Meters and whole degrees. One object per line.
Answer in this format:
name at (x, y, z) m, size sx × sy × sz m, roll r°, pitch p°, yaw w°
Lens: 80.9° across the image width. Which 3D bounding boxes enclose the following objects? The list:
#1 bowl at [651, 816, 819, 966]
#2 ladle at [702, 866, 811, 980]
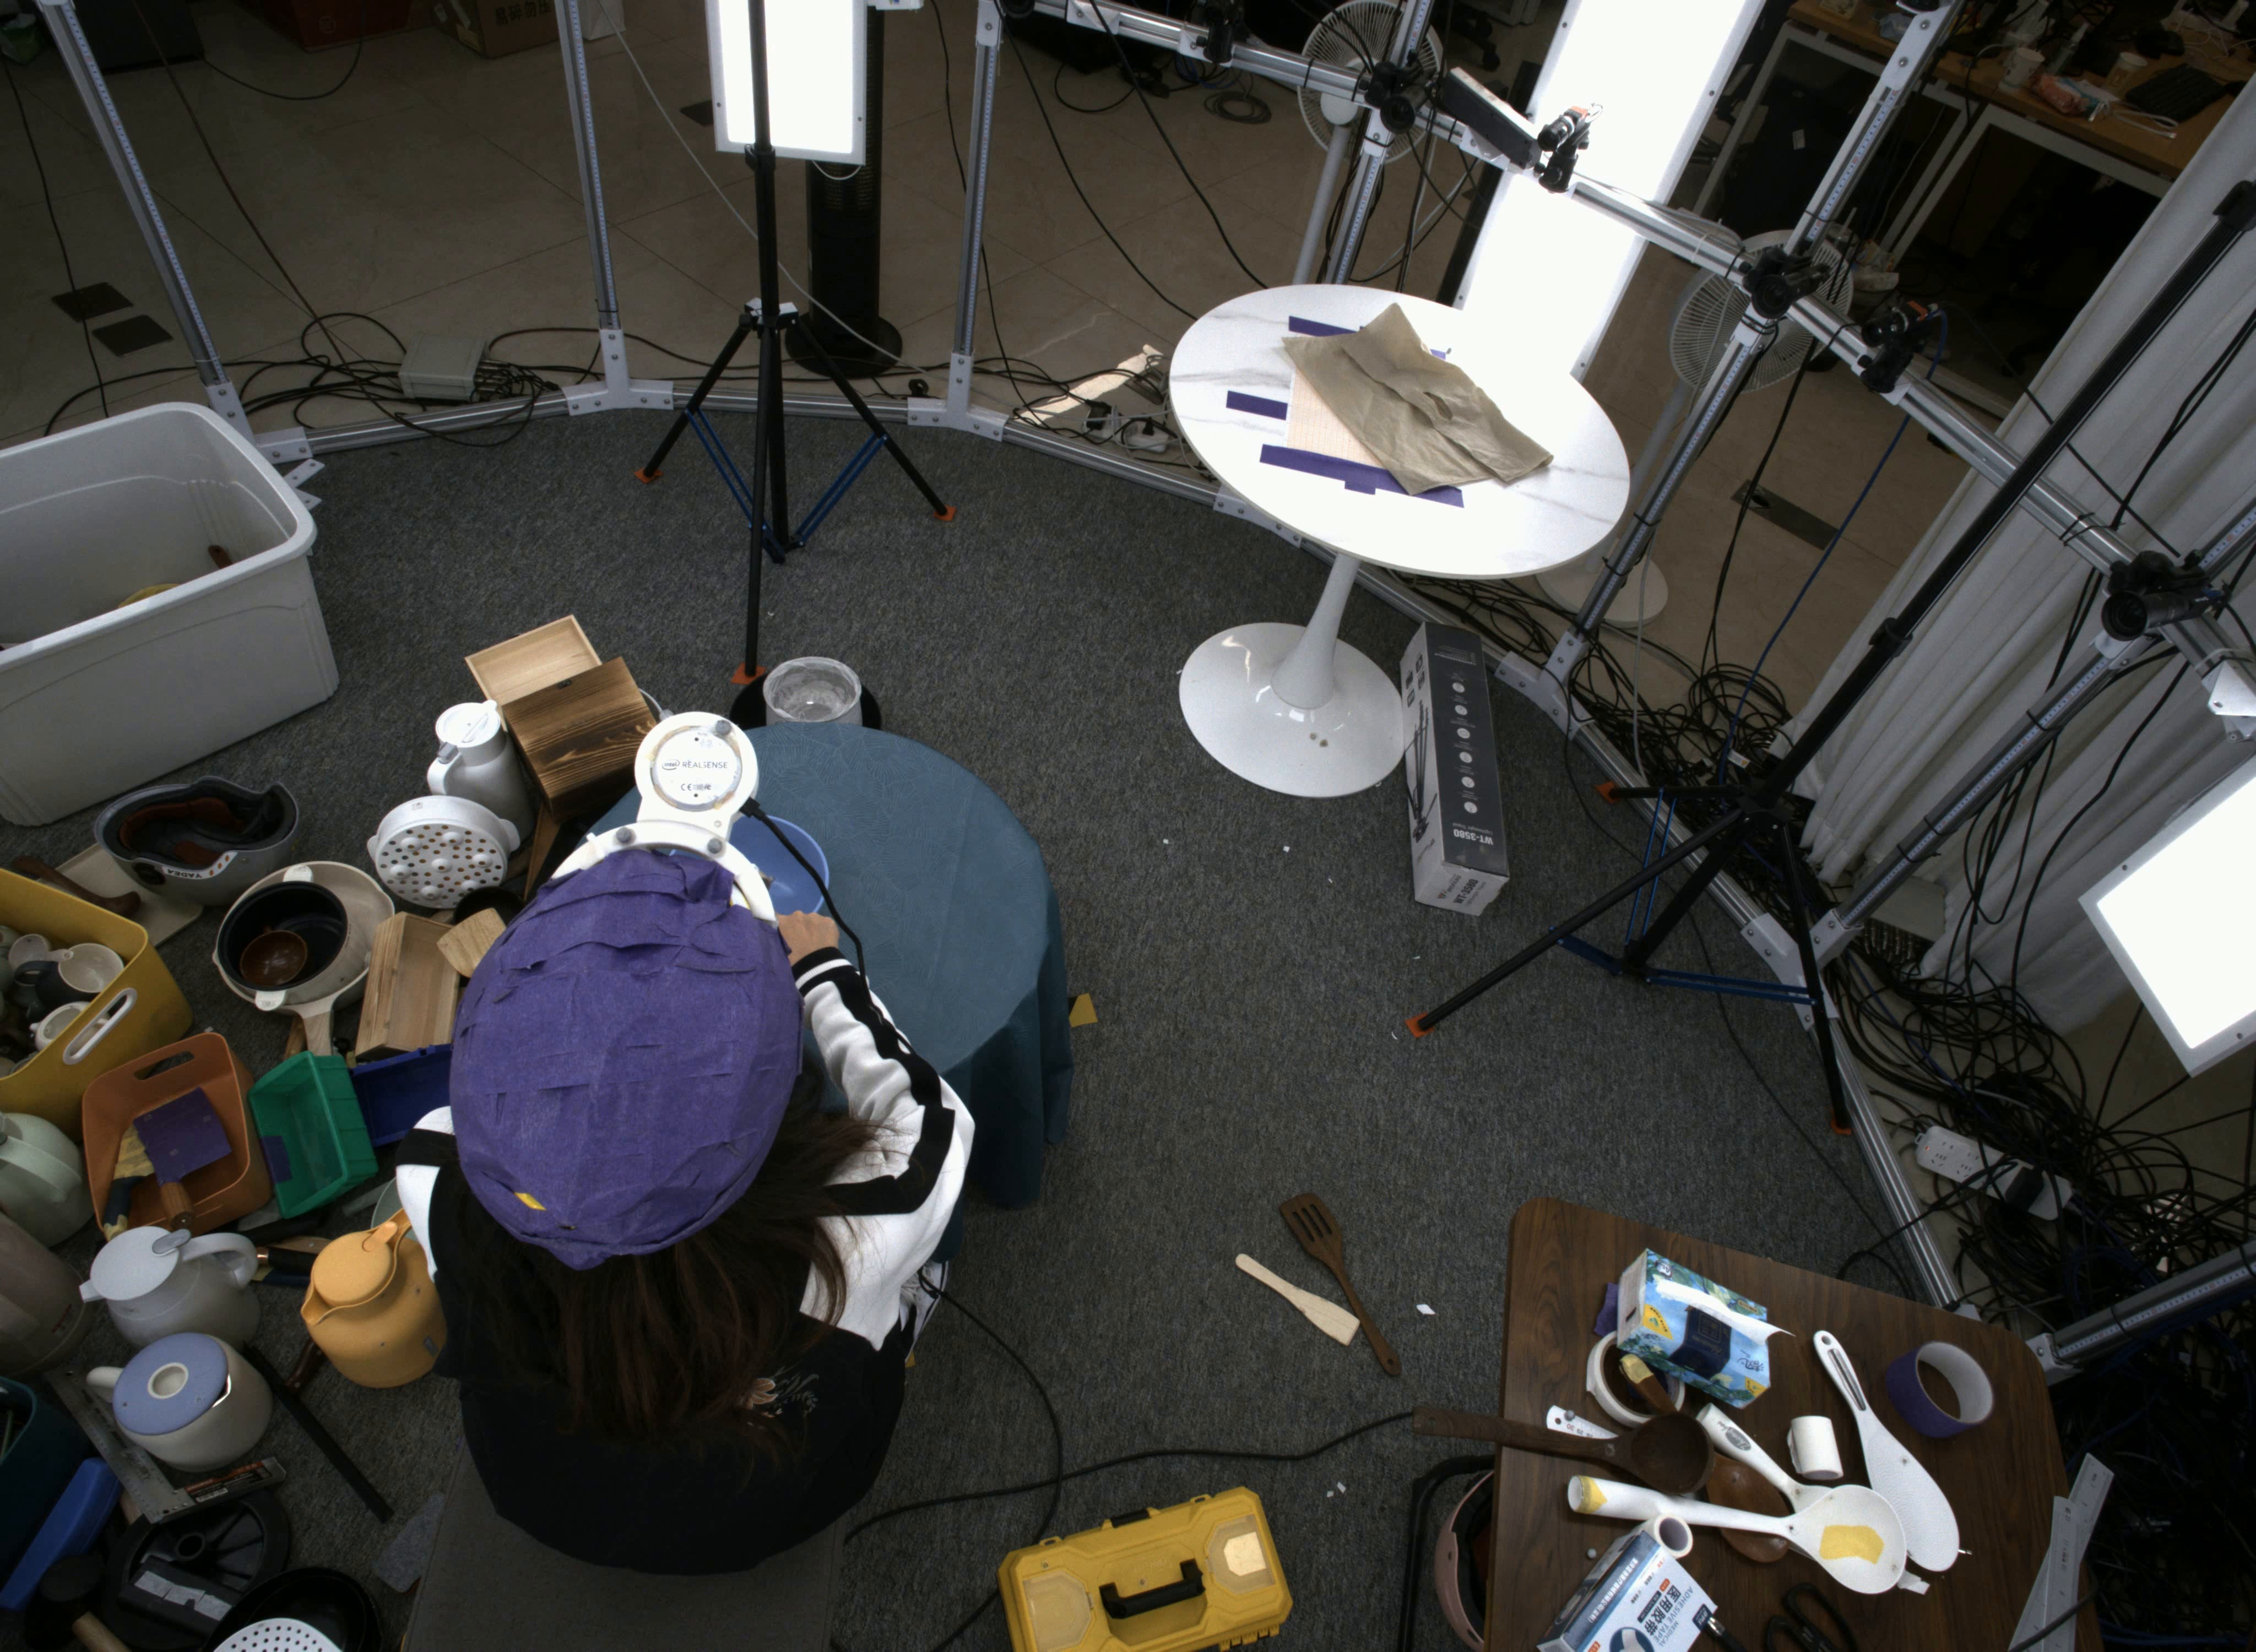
bowl at (-0.477, 0.092, 1.578) m, size 0.196 × 0.097 × 0.193 m, roll 9°, pitch 52°, yaw -10°
ladle at (-0.423, 0.130, 1.507) m, size 0.072 × 0.075 × 0.245 m, roll -23°, pitch 45°, yaw -30°
